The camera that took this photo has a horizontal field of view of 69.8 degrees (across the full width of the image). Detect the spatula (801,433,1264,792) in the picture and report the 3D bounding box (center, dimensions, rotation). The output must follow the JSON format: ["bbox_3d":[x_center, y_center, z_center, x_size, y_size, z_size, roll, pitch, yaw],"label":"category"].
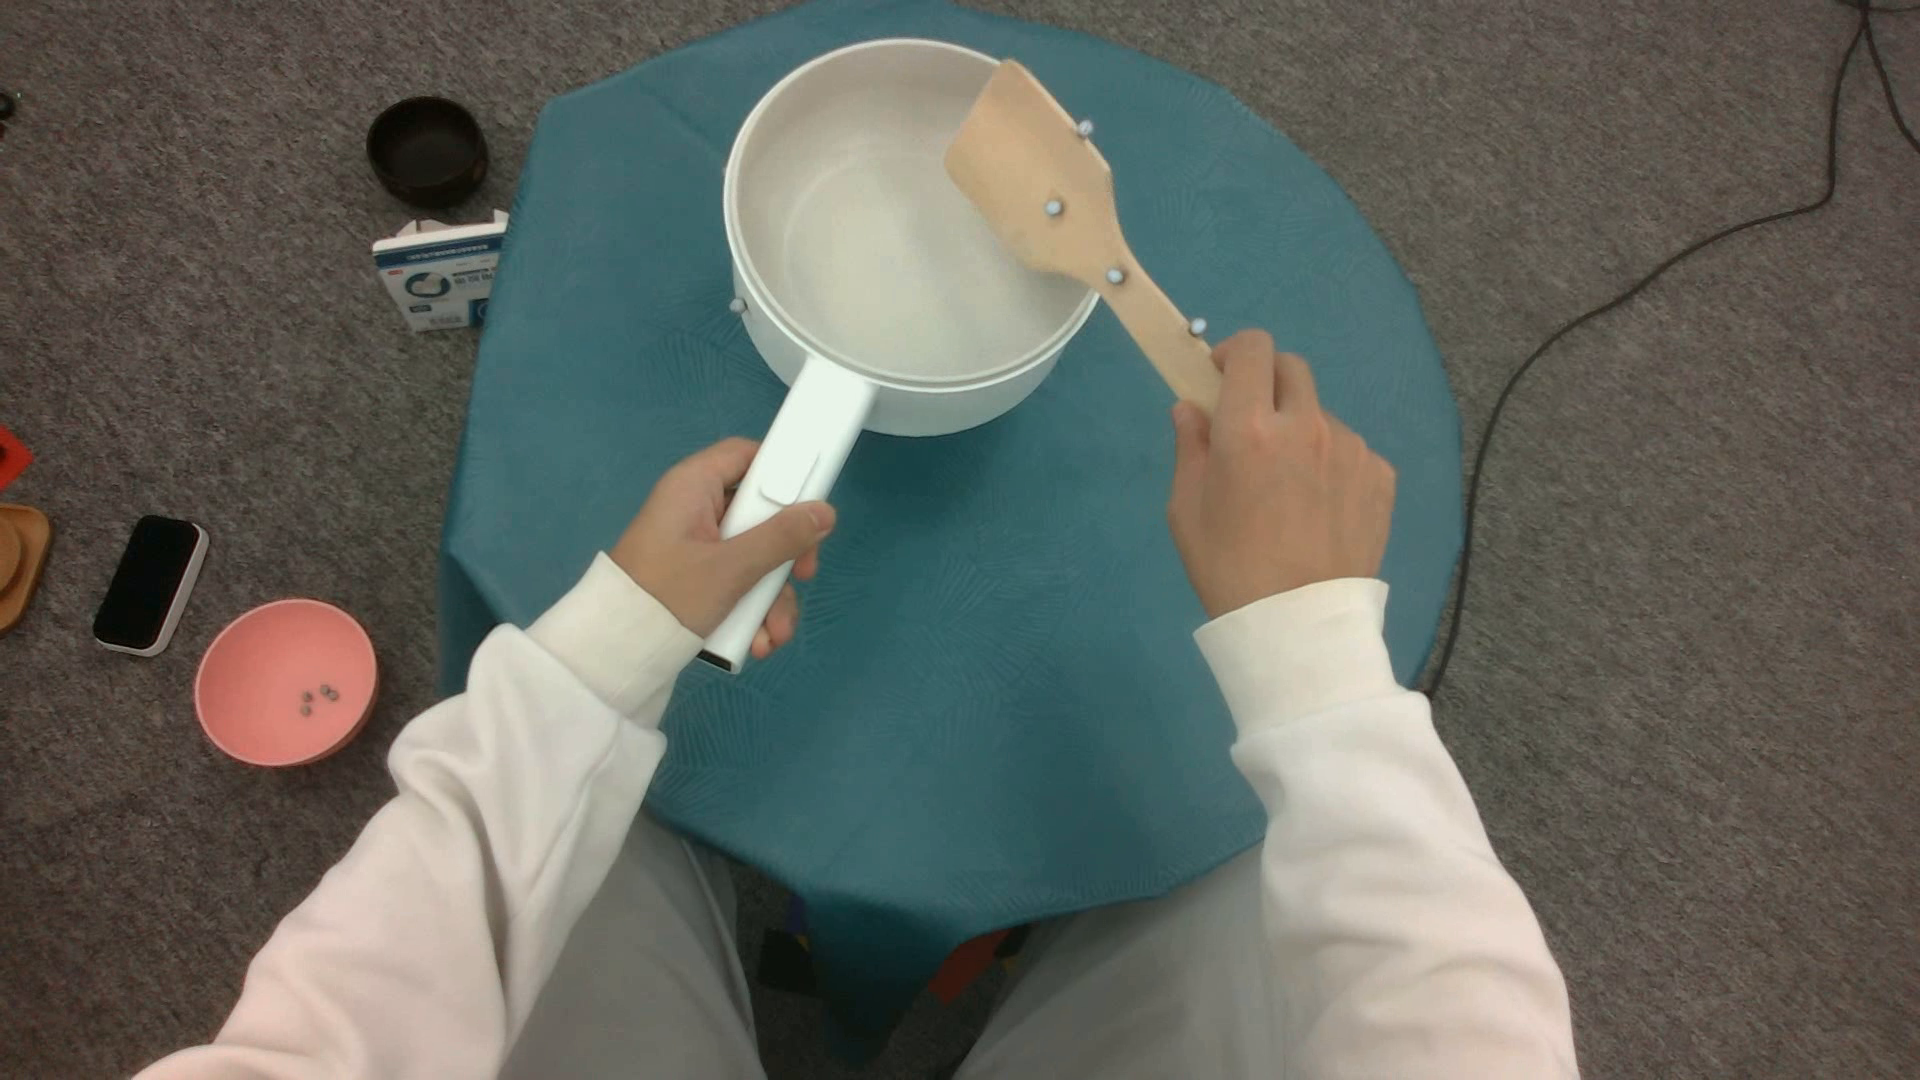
[{"bbox_3d":[0.029,0.037,0.699,0.293,0.072,0.011,33,26,28],"label":"spatula"}]

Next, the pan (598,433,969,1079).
[{"bbox_3d":[-0.108,0.110,0.747,0.201,0.101,0.356,9,57,0],"label":"pan"}]
